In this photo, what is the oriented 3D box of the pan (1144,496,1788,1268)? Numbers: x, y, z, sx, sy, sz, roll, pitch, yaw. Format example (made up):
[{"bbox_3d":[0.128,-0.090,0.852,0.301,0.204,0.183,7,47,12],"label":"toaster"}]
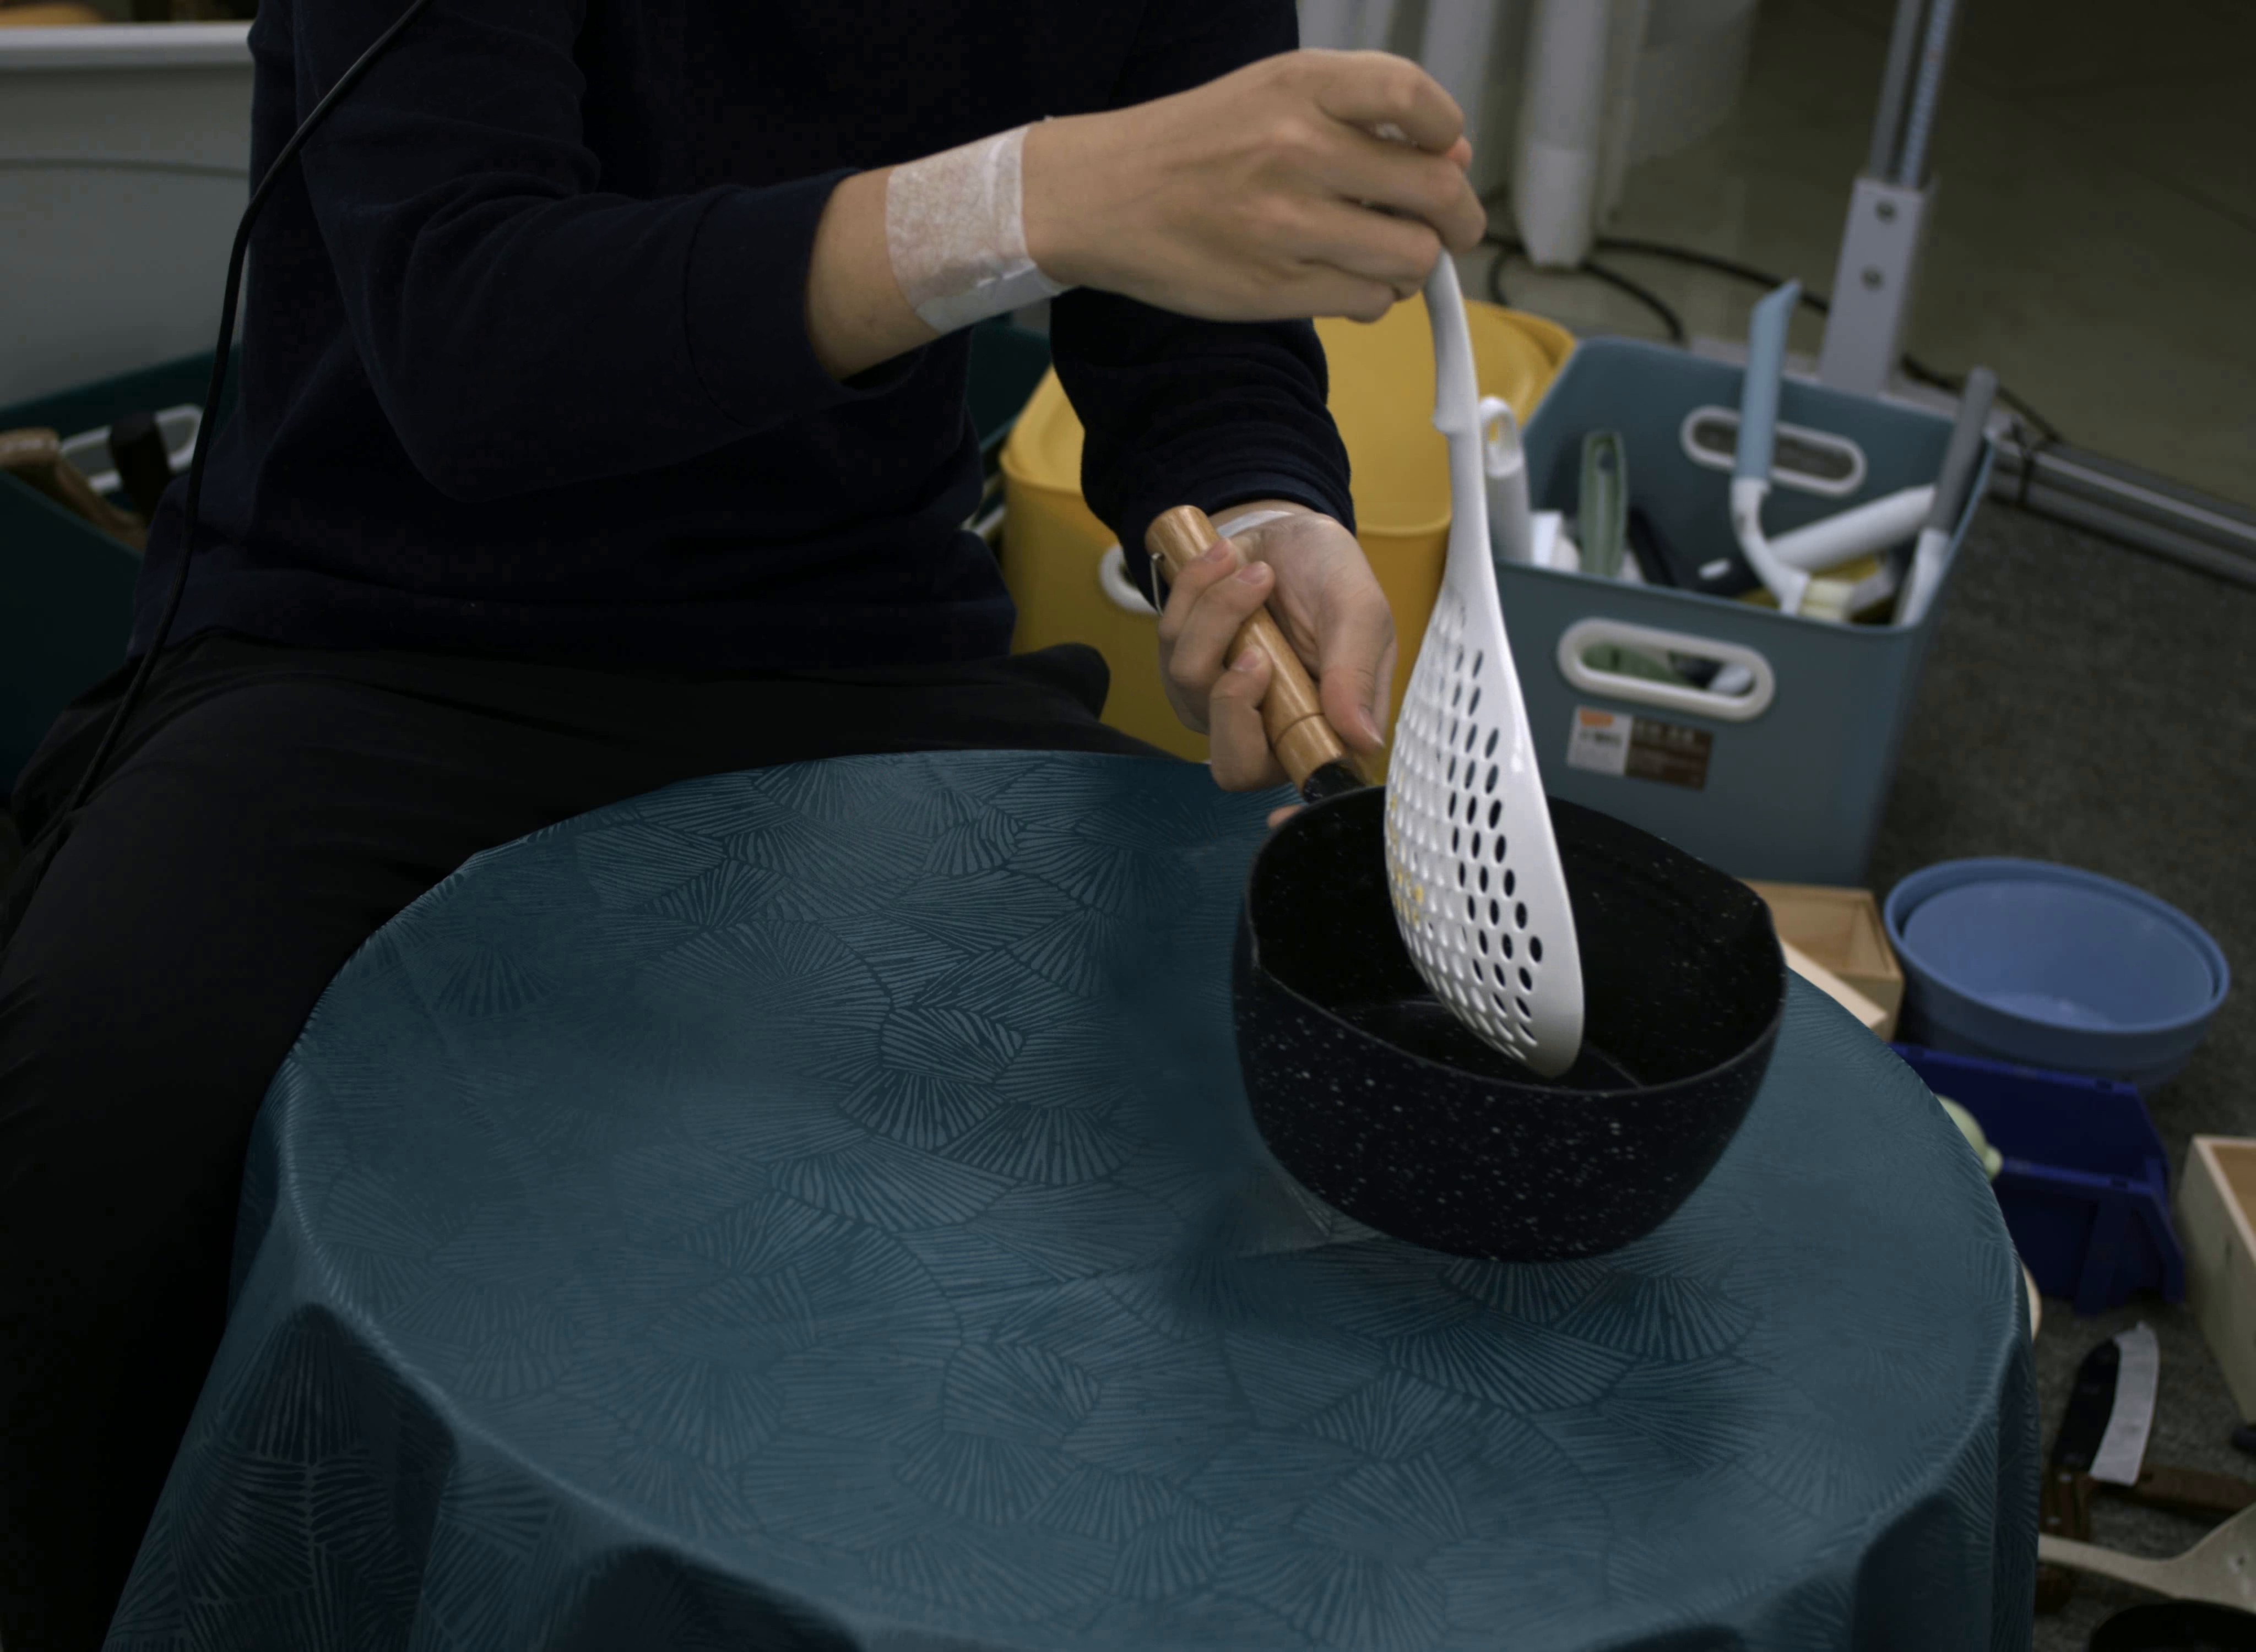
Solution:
[{"bbox_3d":[0.084,0.017,1.826,0.206,0.108,0.346,-10,38,-28],"label":"pan"}]

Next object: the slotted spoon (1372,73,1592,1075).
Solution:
[{"bbox_3d":[0.104,-0.079,1.725,0.050,0.347,0.138,-9,24,-14],"label":"slotted spoon"}]
